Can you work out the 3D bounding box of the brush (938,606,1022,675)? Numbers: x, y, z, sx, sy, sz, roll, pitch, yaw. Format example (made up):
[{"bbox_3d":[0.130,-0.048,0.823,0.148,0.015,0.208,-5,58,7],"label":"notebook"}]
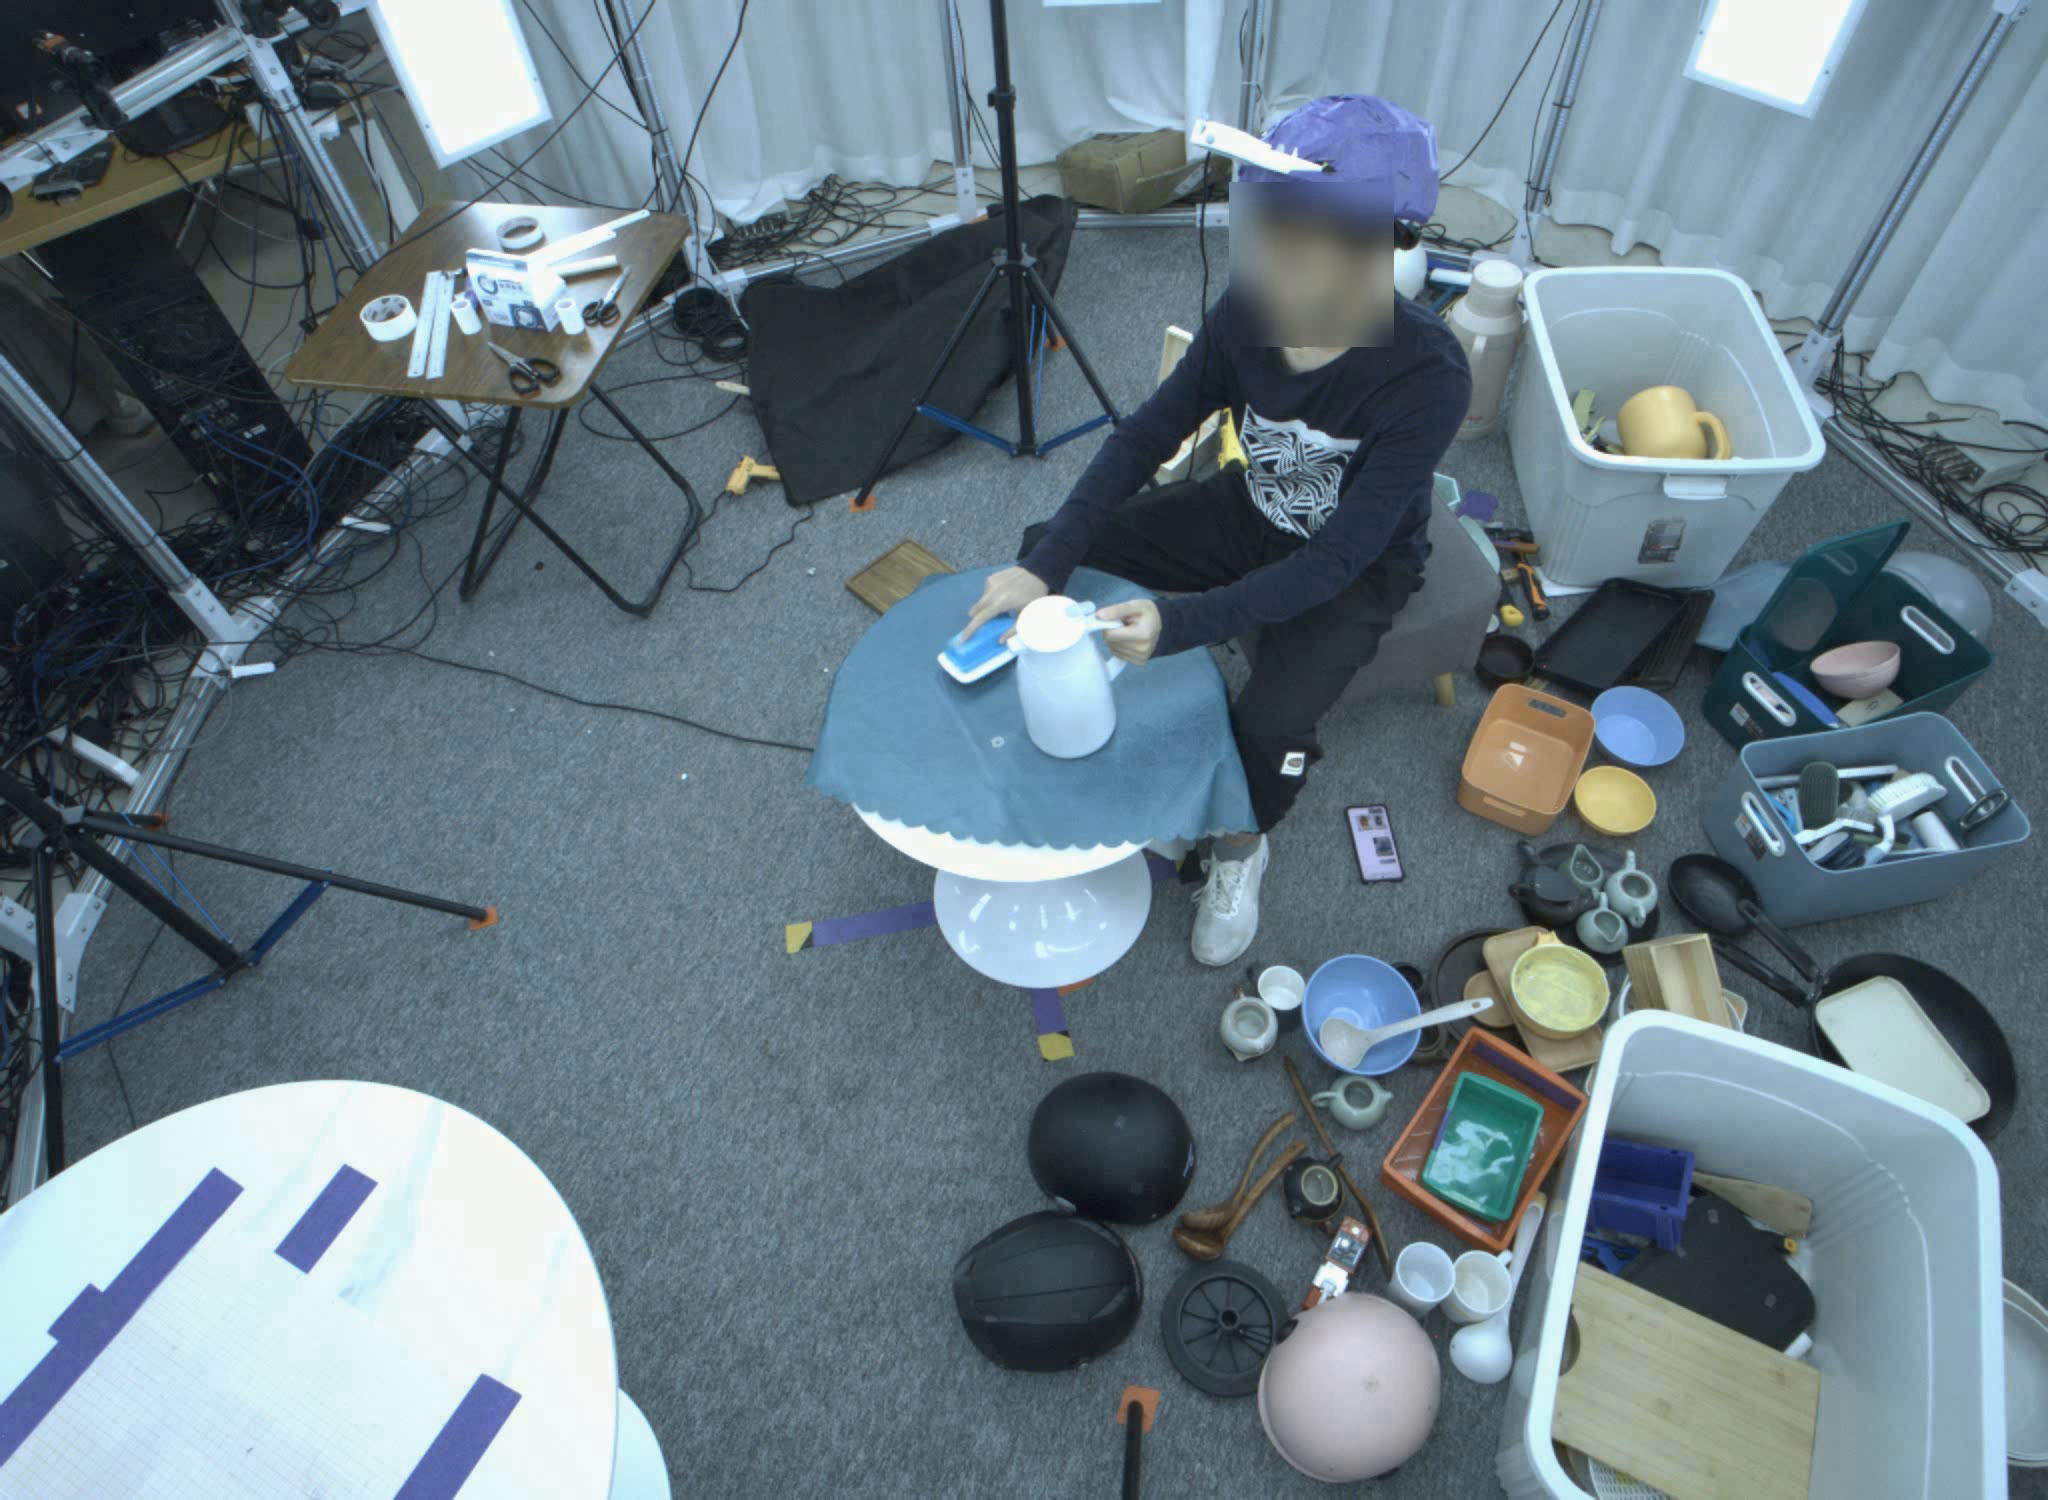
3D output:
[{"bbox_3d":[-0.055,-0.172,1.848,0.145,0.056,0.082,-30,53,-19],"label":"brush"}]

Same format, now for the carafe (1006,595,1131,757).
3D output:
[{"bbox_3d":[0.068,-0.115,1.694,0.168,0.252,0.130,-23,59,-5],"label":"carafe"}]
